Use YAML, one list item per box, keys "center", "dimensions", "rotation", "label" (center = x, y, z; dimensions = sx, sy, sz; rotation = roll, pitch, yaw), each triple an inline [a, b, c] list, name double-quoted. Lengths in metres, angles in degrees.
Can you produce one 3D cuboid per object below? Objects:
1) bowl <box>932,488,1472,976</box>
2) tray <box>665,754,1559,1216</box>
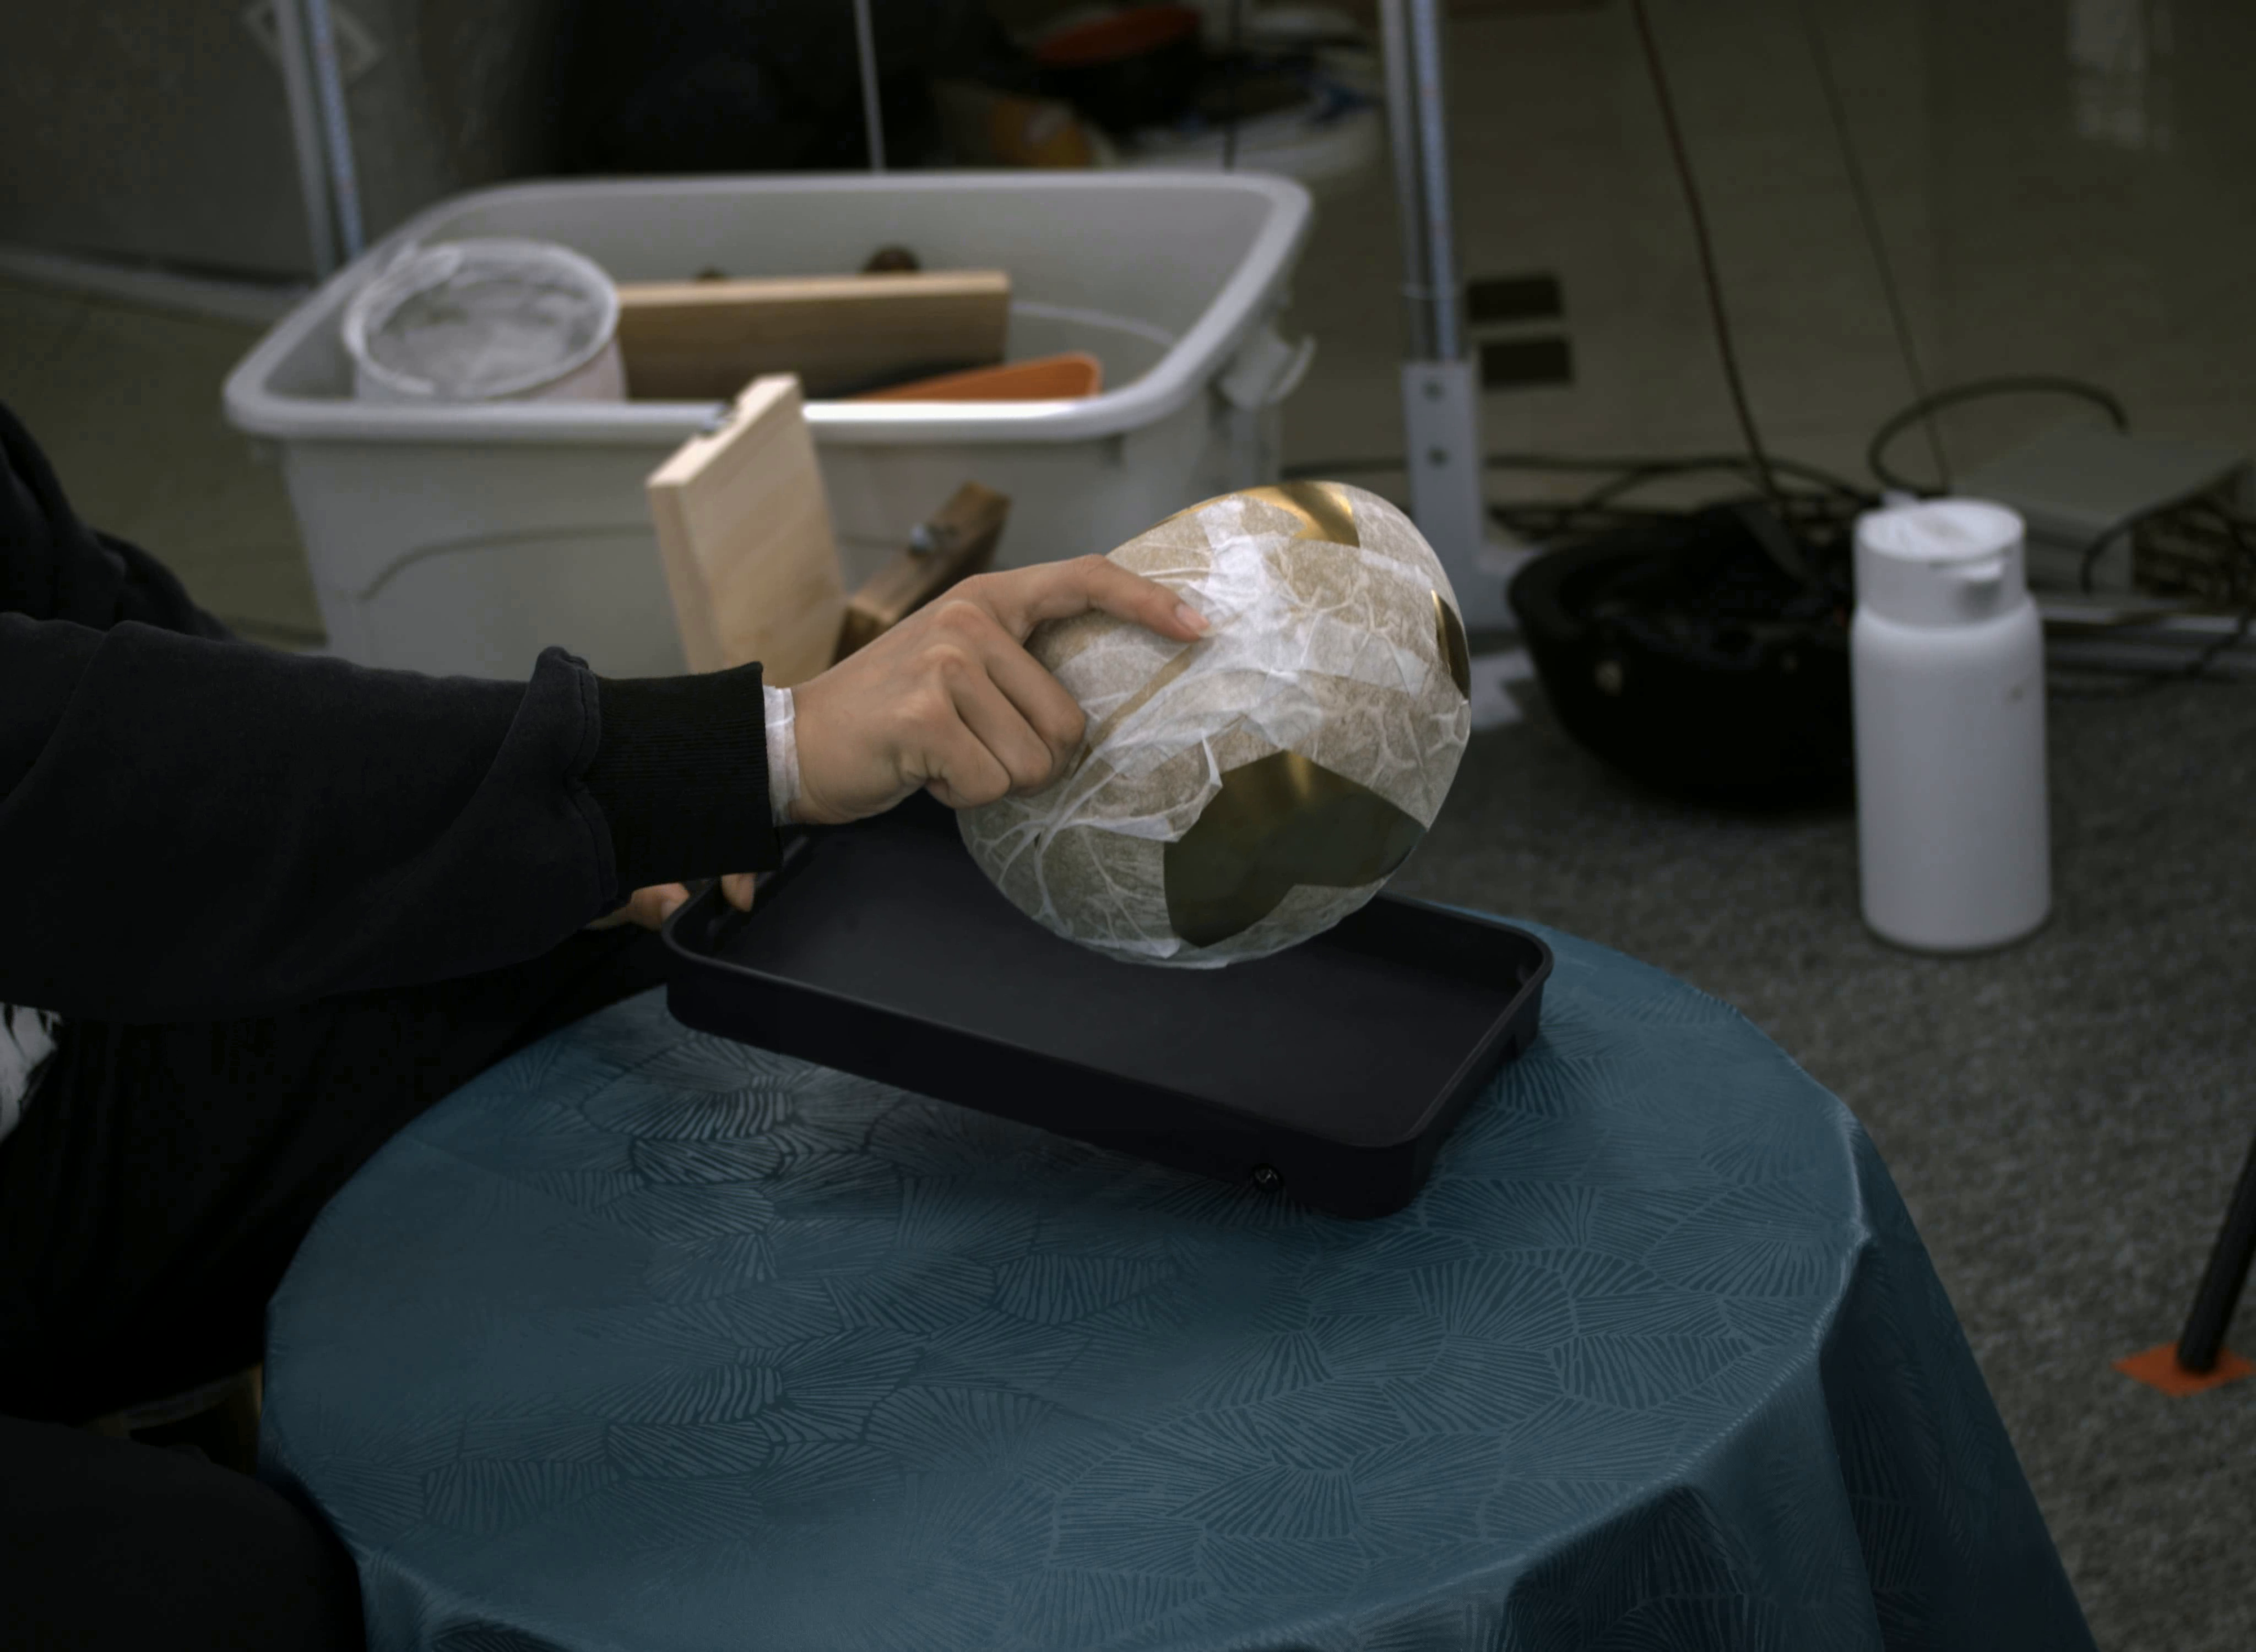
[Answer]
- center: [0.043, -0.014, 2.041]
  dimensions: [0.213, 0.219, 0.093]
  rotation: [-18, 52, -24]
  label: "bowl"
- center: [-0.006, 0.058, 2.215]
  dimensions: [0.316, 0.038, 0.182]
  rotation: [15, 32, 20]
  label: "tray"
